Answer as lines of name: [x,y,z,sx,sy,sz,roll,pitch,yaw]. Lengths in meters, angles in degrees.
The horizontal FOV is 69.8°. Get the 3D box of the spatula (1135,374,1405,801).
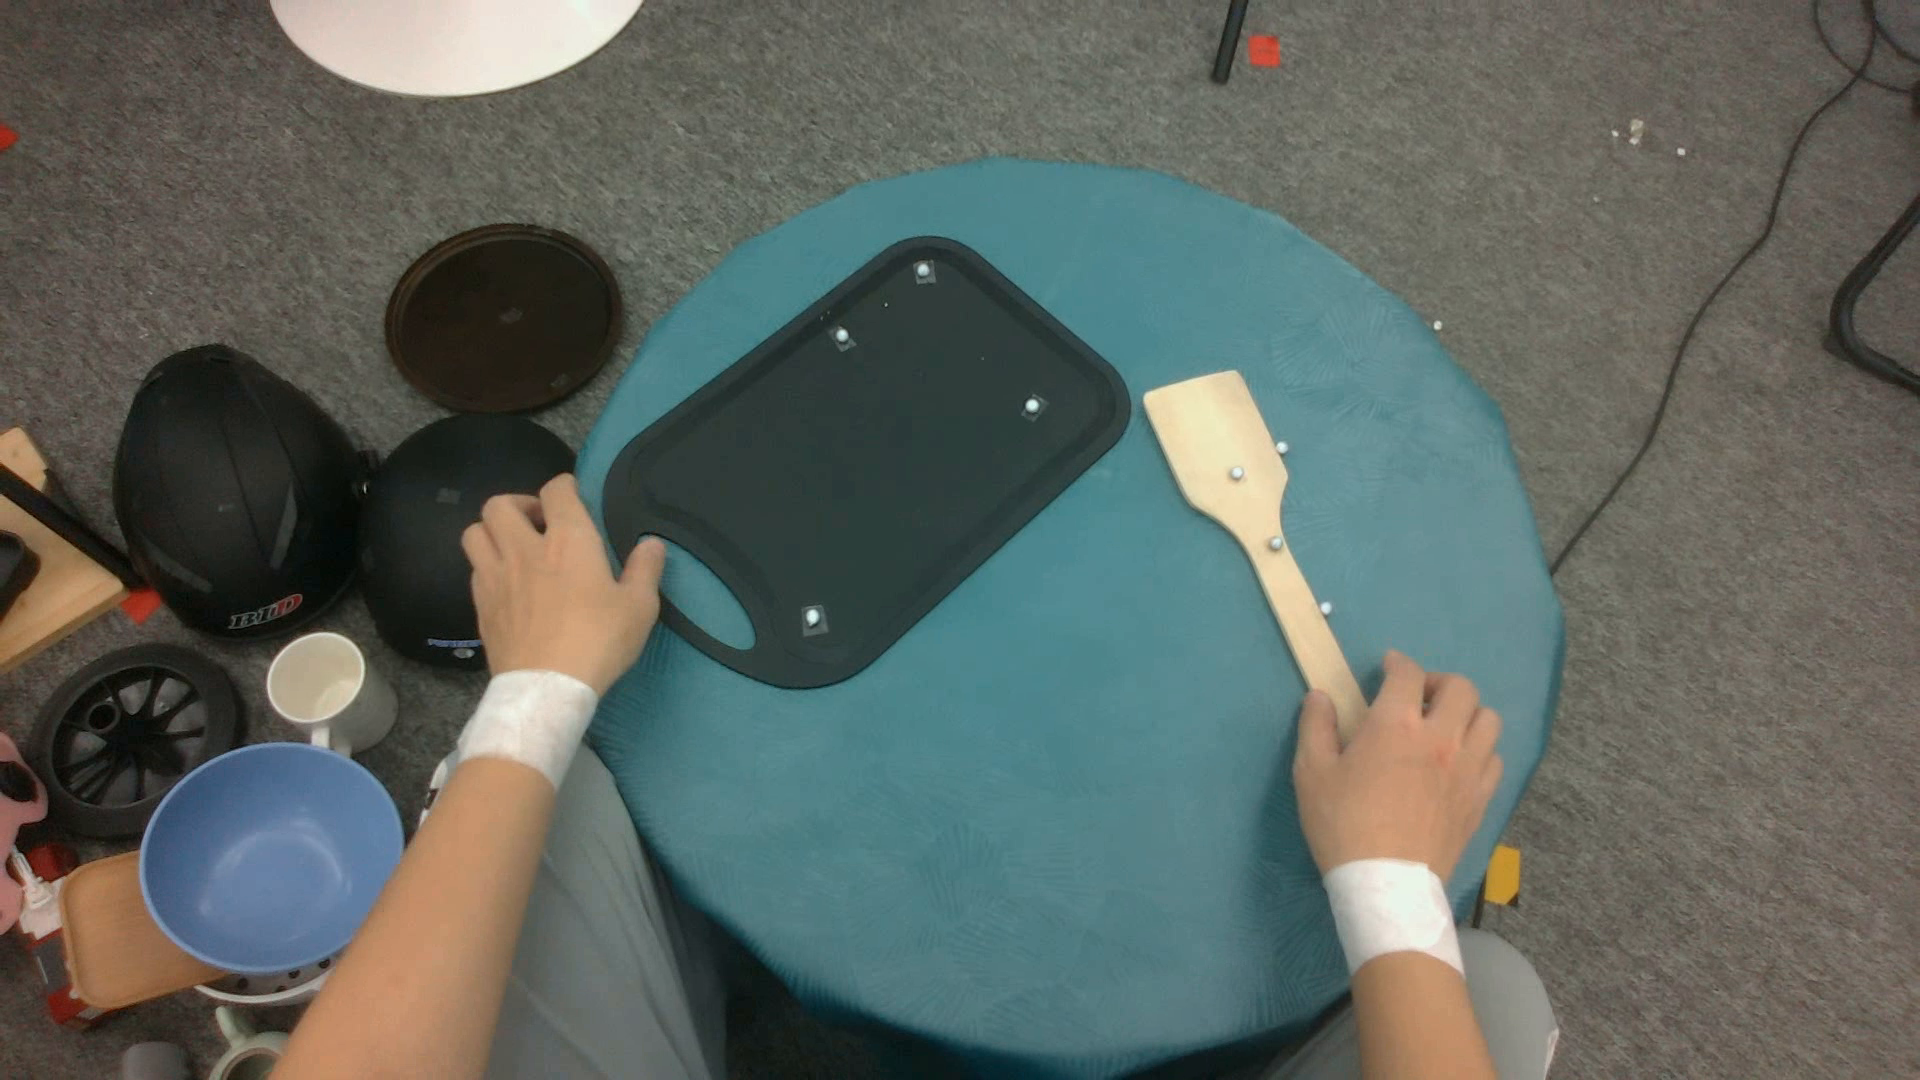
spatula: [0.195,0.023,0.843,0.072,0.010,0.294,-17,65,-12]

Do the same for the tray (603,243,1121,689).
tray: [-0.062,-0.054,0.869,0.211,0.010,0.326,42,68,17]
